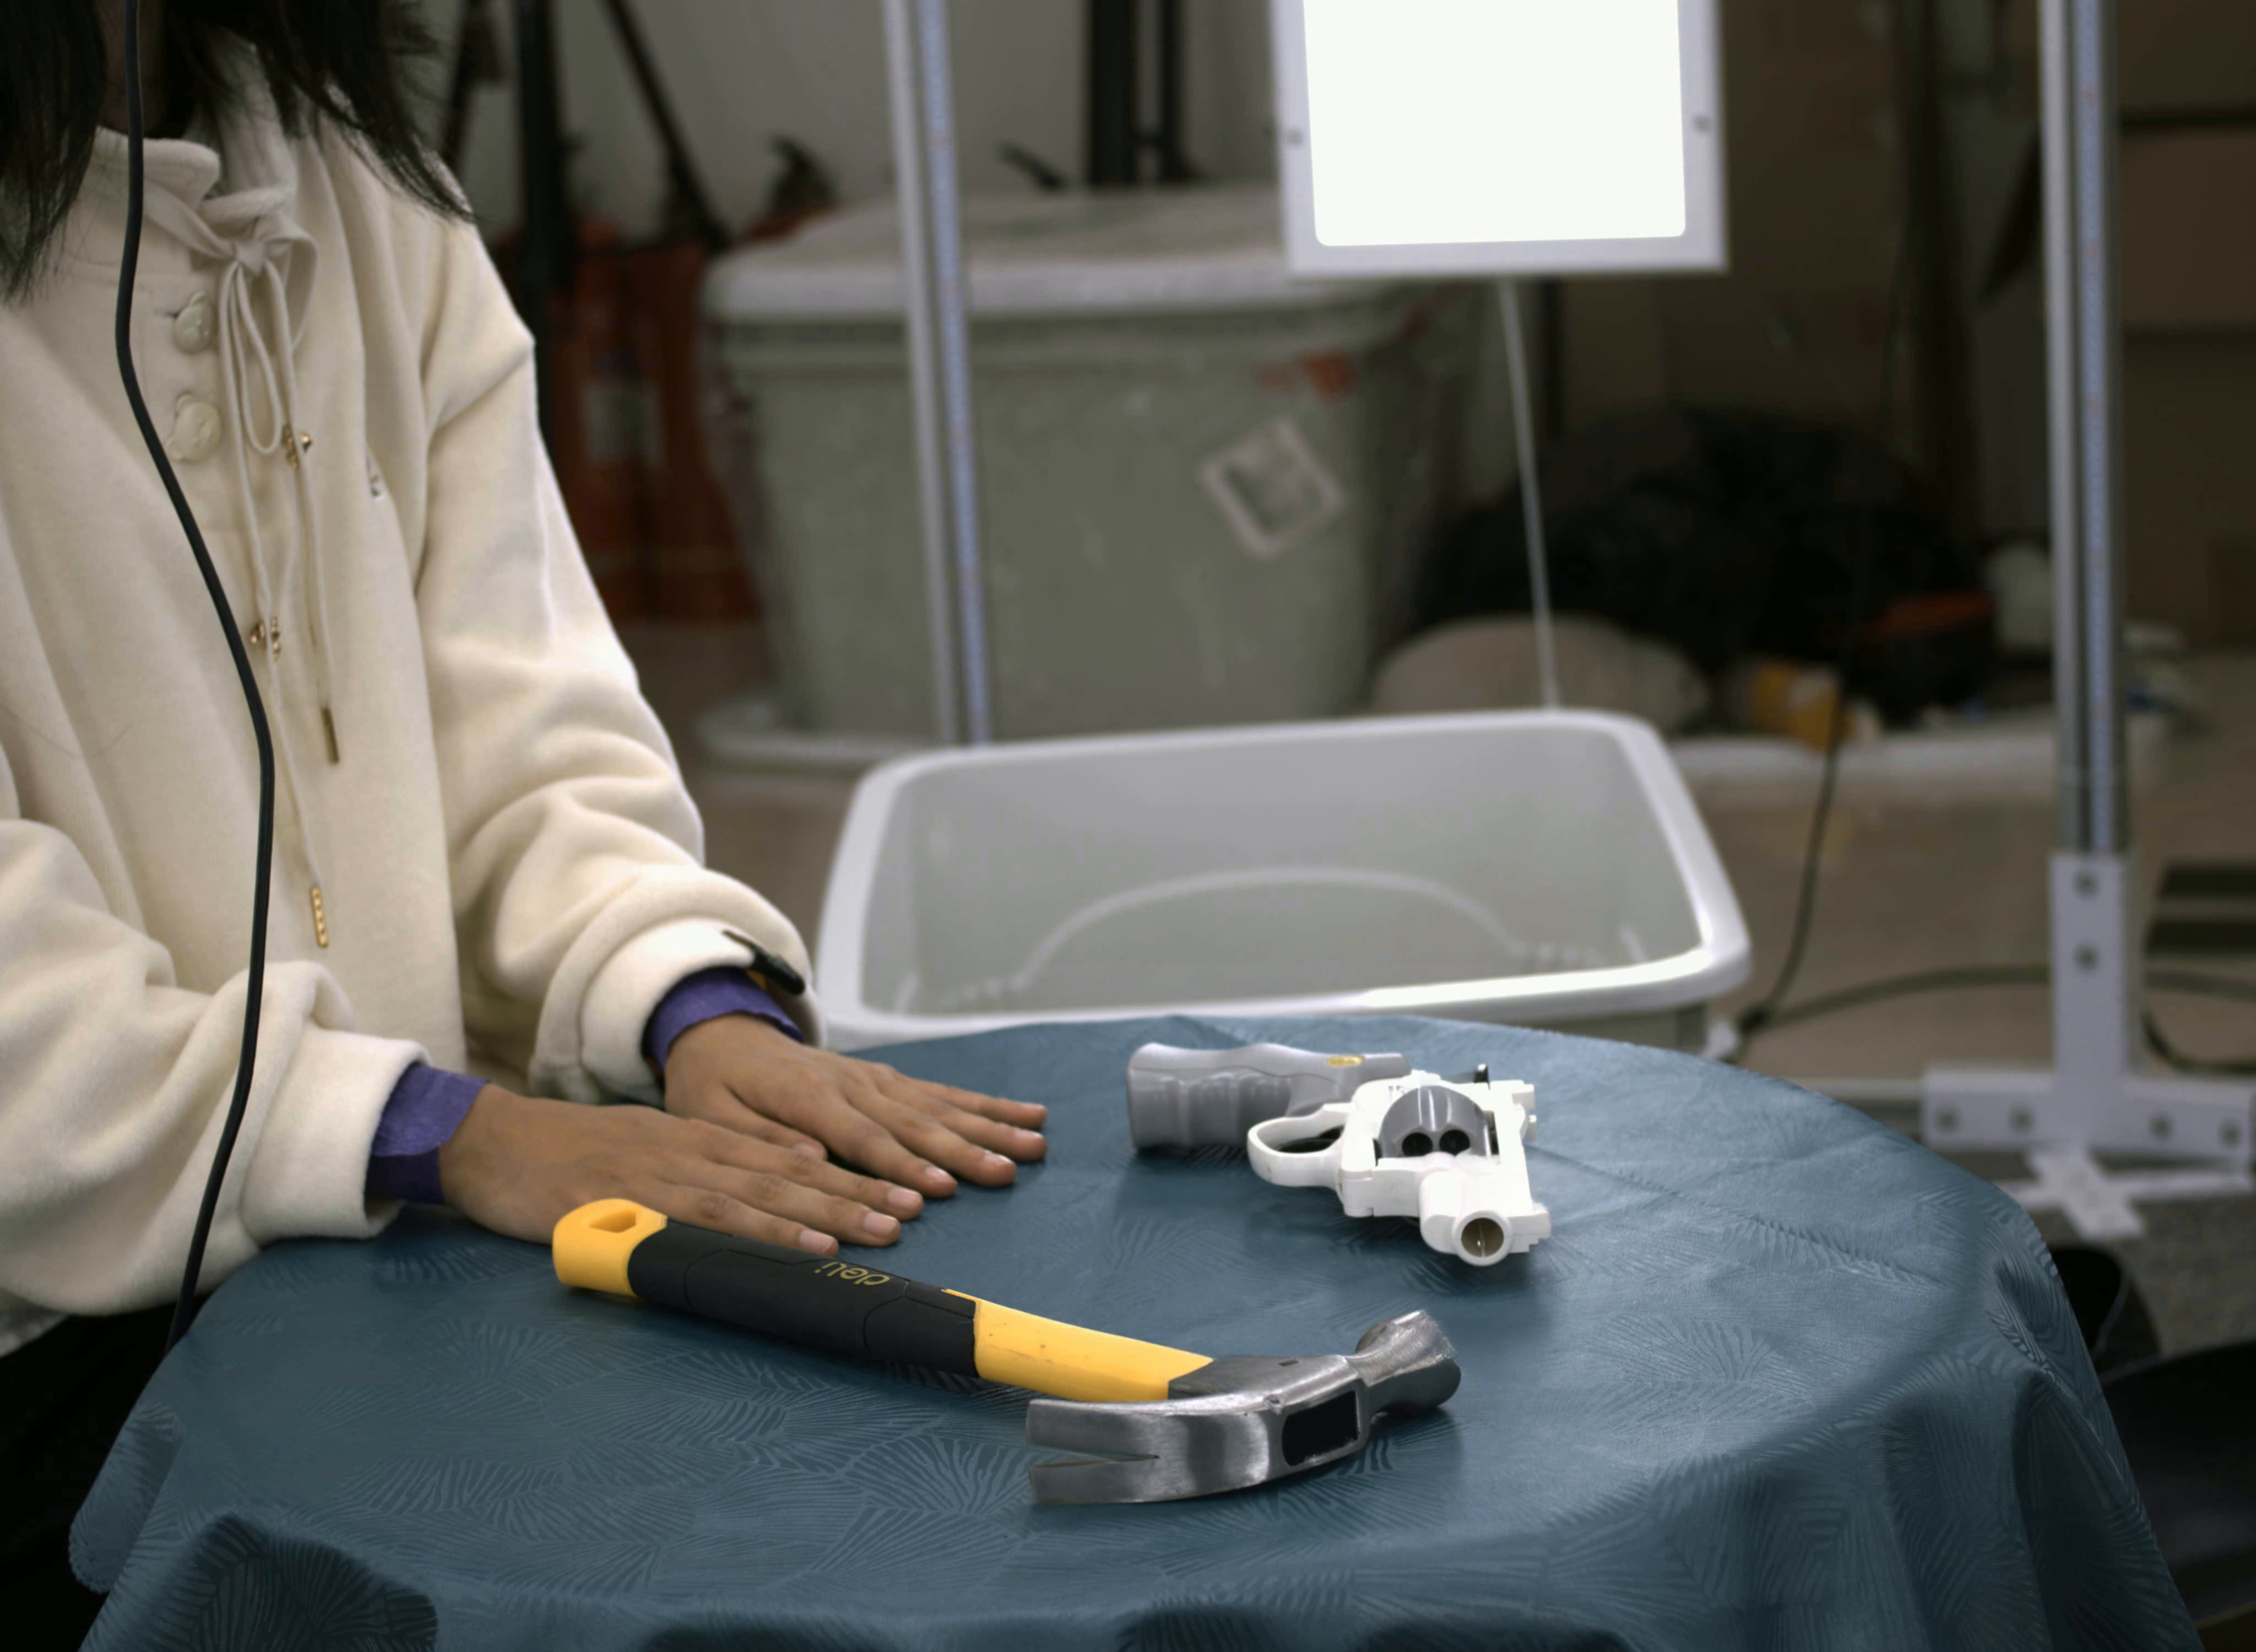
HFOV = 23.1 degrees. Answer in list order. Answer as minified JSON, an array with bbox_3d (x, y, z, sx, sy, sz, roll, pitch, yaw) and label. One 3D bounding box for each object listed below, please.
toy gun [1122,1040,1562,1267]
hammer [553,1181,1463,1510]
[{"bbox_3d":[0.070,0.109,1.862,0.141,0.039,0.208,-4,14,1],"label":"toy gun"},{"bbox_3d":[-0.062,0.154,1.733,0.128,0.032,0.346,-20,21,-41],"label":"hammer"}]
